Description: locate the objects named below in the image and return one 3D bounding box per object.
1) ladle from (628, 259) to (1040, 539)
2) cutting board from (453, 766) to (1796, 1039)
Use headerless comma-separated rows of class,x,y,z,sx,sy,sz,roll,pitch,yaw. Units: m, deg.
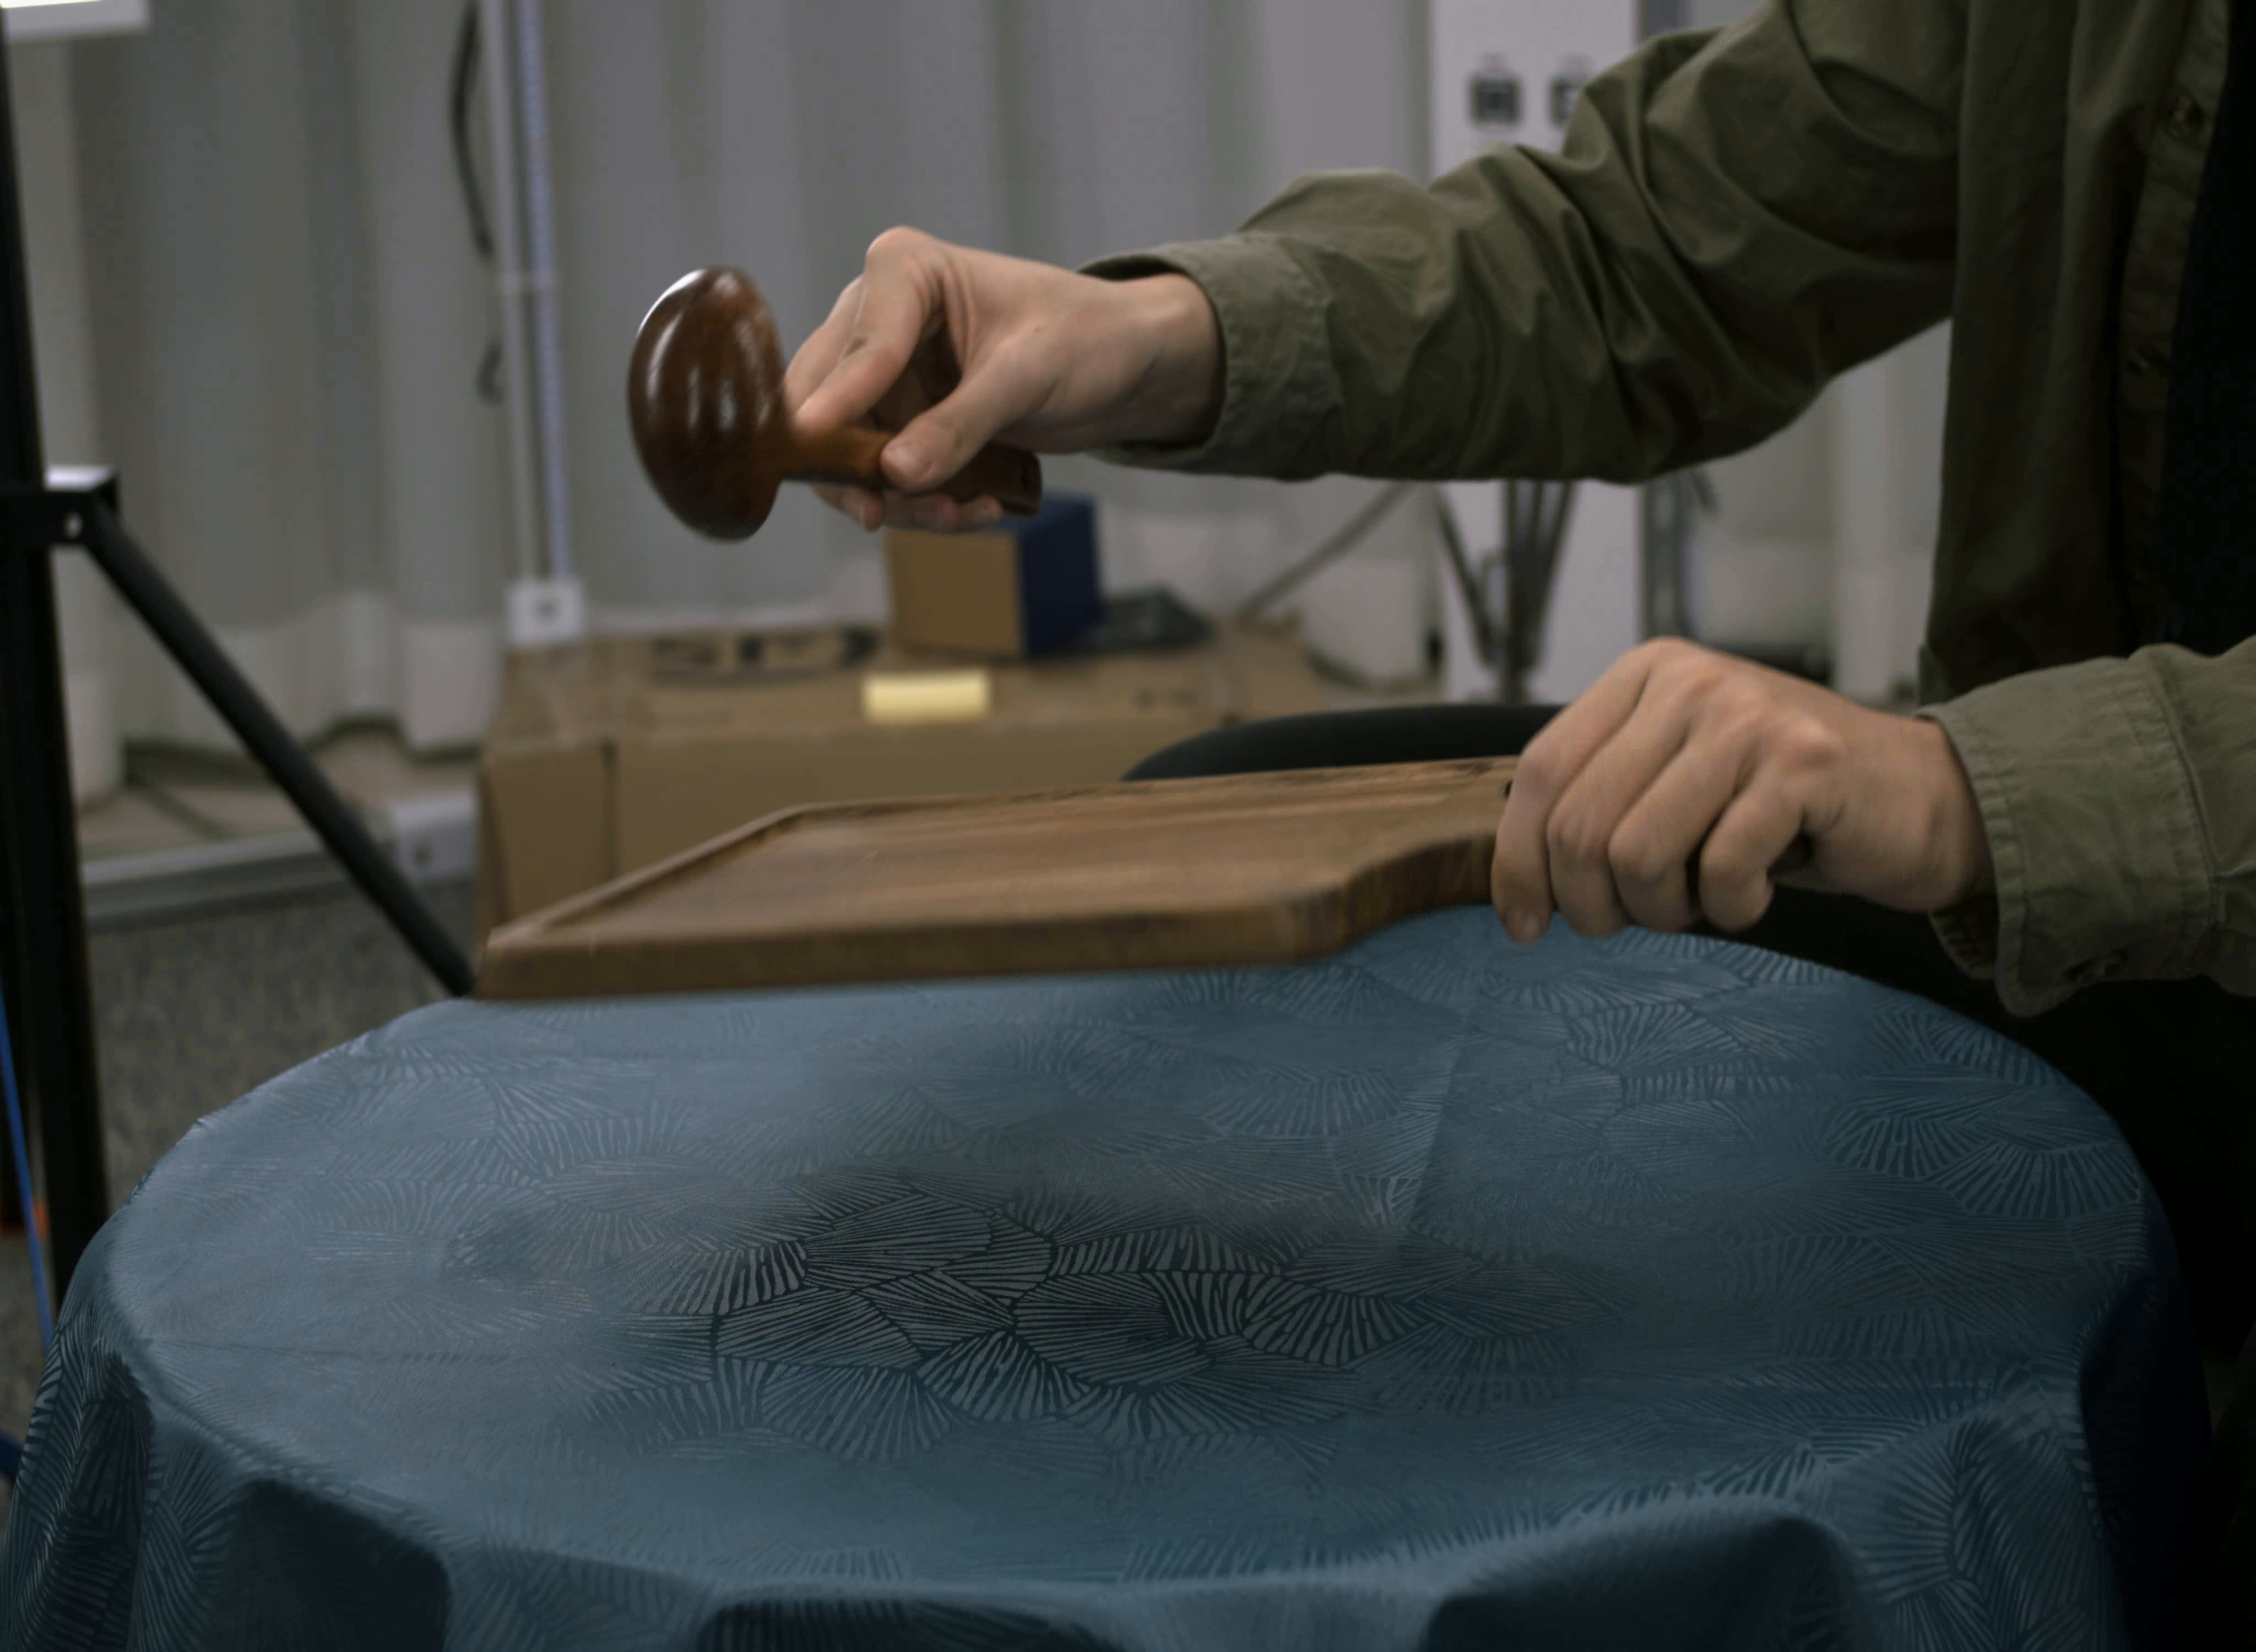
ladle,-0.071,-0.121,1.662,0.078,0.082,0.268,-3,-4,30
cutting board,0.010,0.018,1.448,0.357,0.023,0.198,-3,12,26
